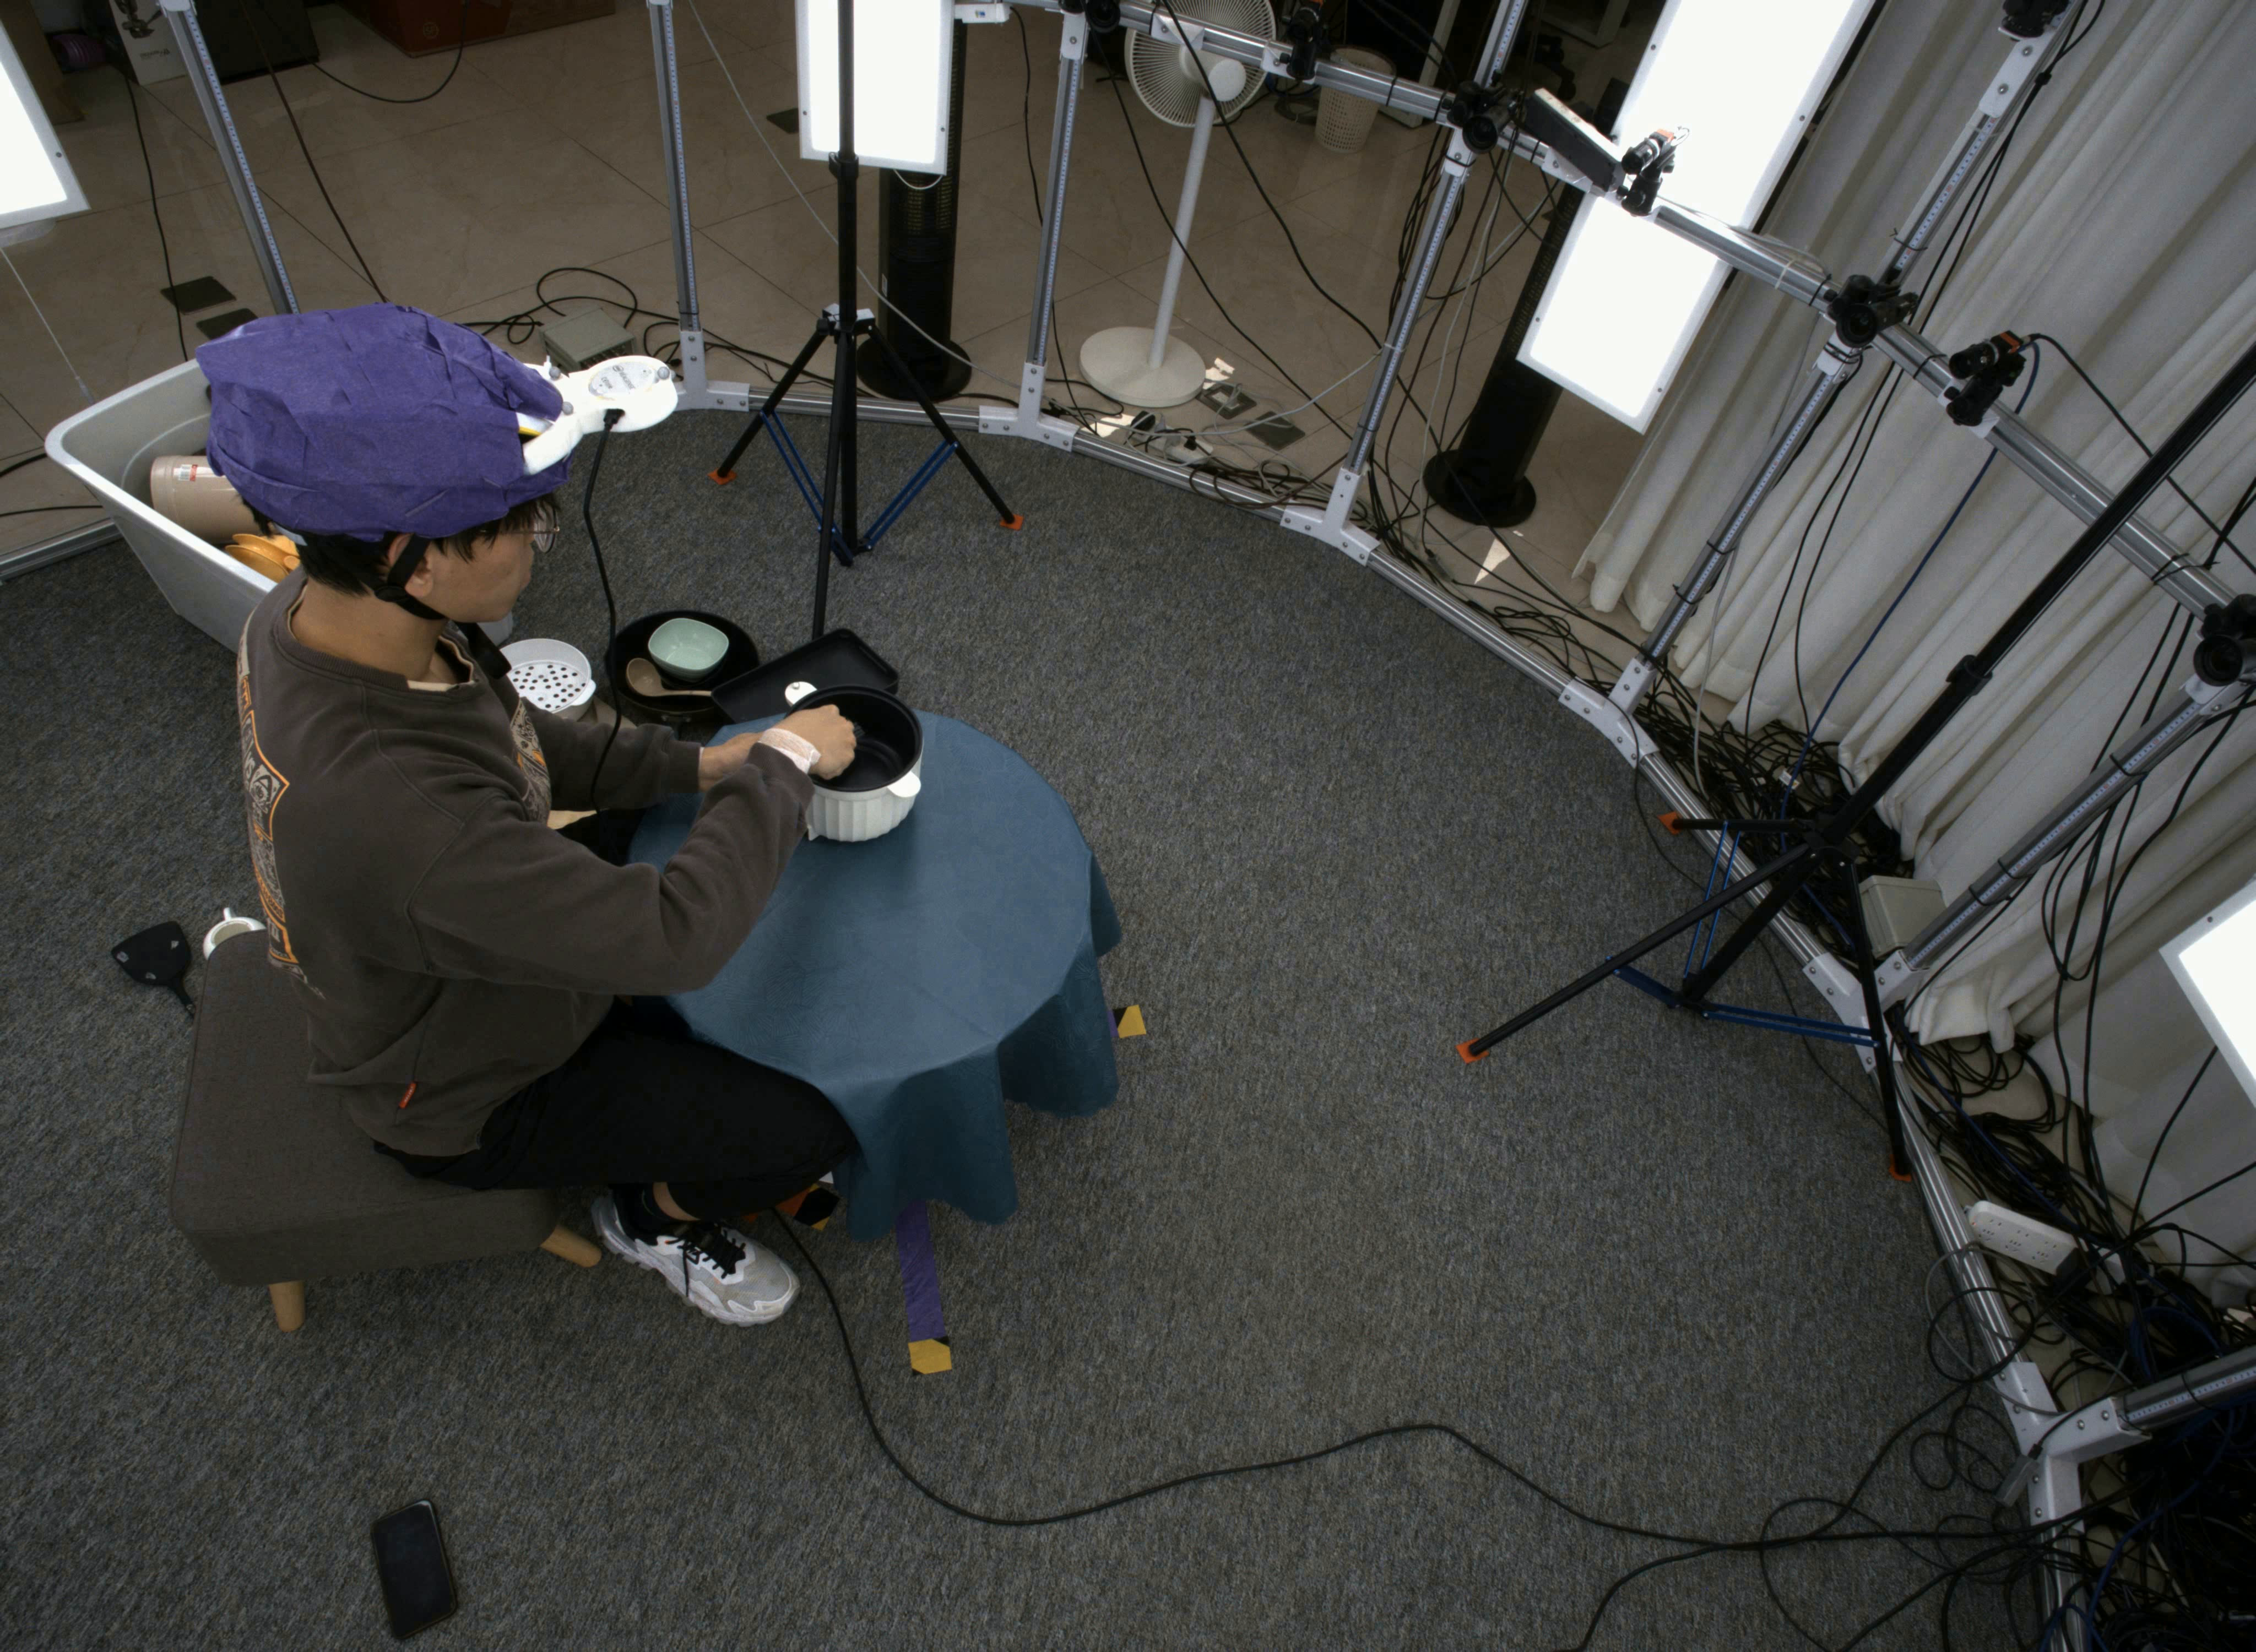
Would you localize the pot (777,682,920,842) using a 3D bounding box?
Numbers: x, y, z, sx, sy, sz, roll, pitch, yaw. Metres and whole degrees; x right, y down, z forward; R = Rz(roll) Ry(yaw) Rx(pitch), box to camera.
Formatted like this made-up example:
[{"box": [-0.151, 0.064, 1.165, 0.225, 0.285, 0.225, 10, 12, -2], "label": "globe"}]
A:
[{"box": [-0.363, -0.081, 1.723, 0.235, 0.145, 0.190, 40, 60, 15], "label": "pot"}]

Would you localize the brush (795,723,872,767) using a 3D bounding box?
[{"box": [-0.364, -0.104, 1.598, 0.095, 0.269, 0.034, -34, 97, -8], "label": "brush"}]
